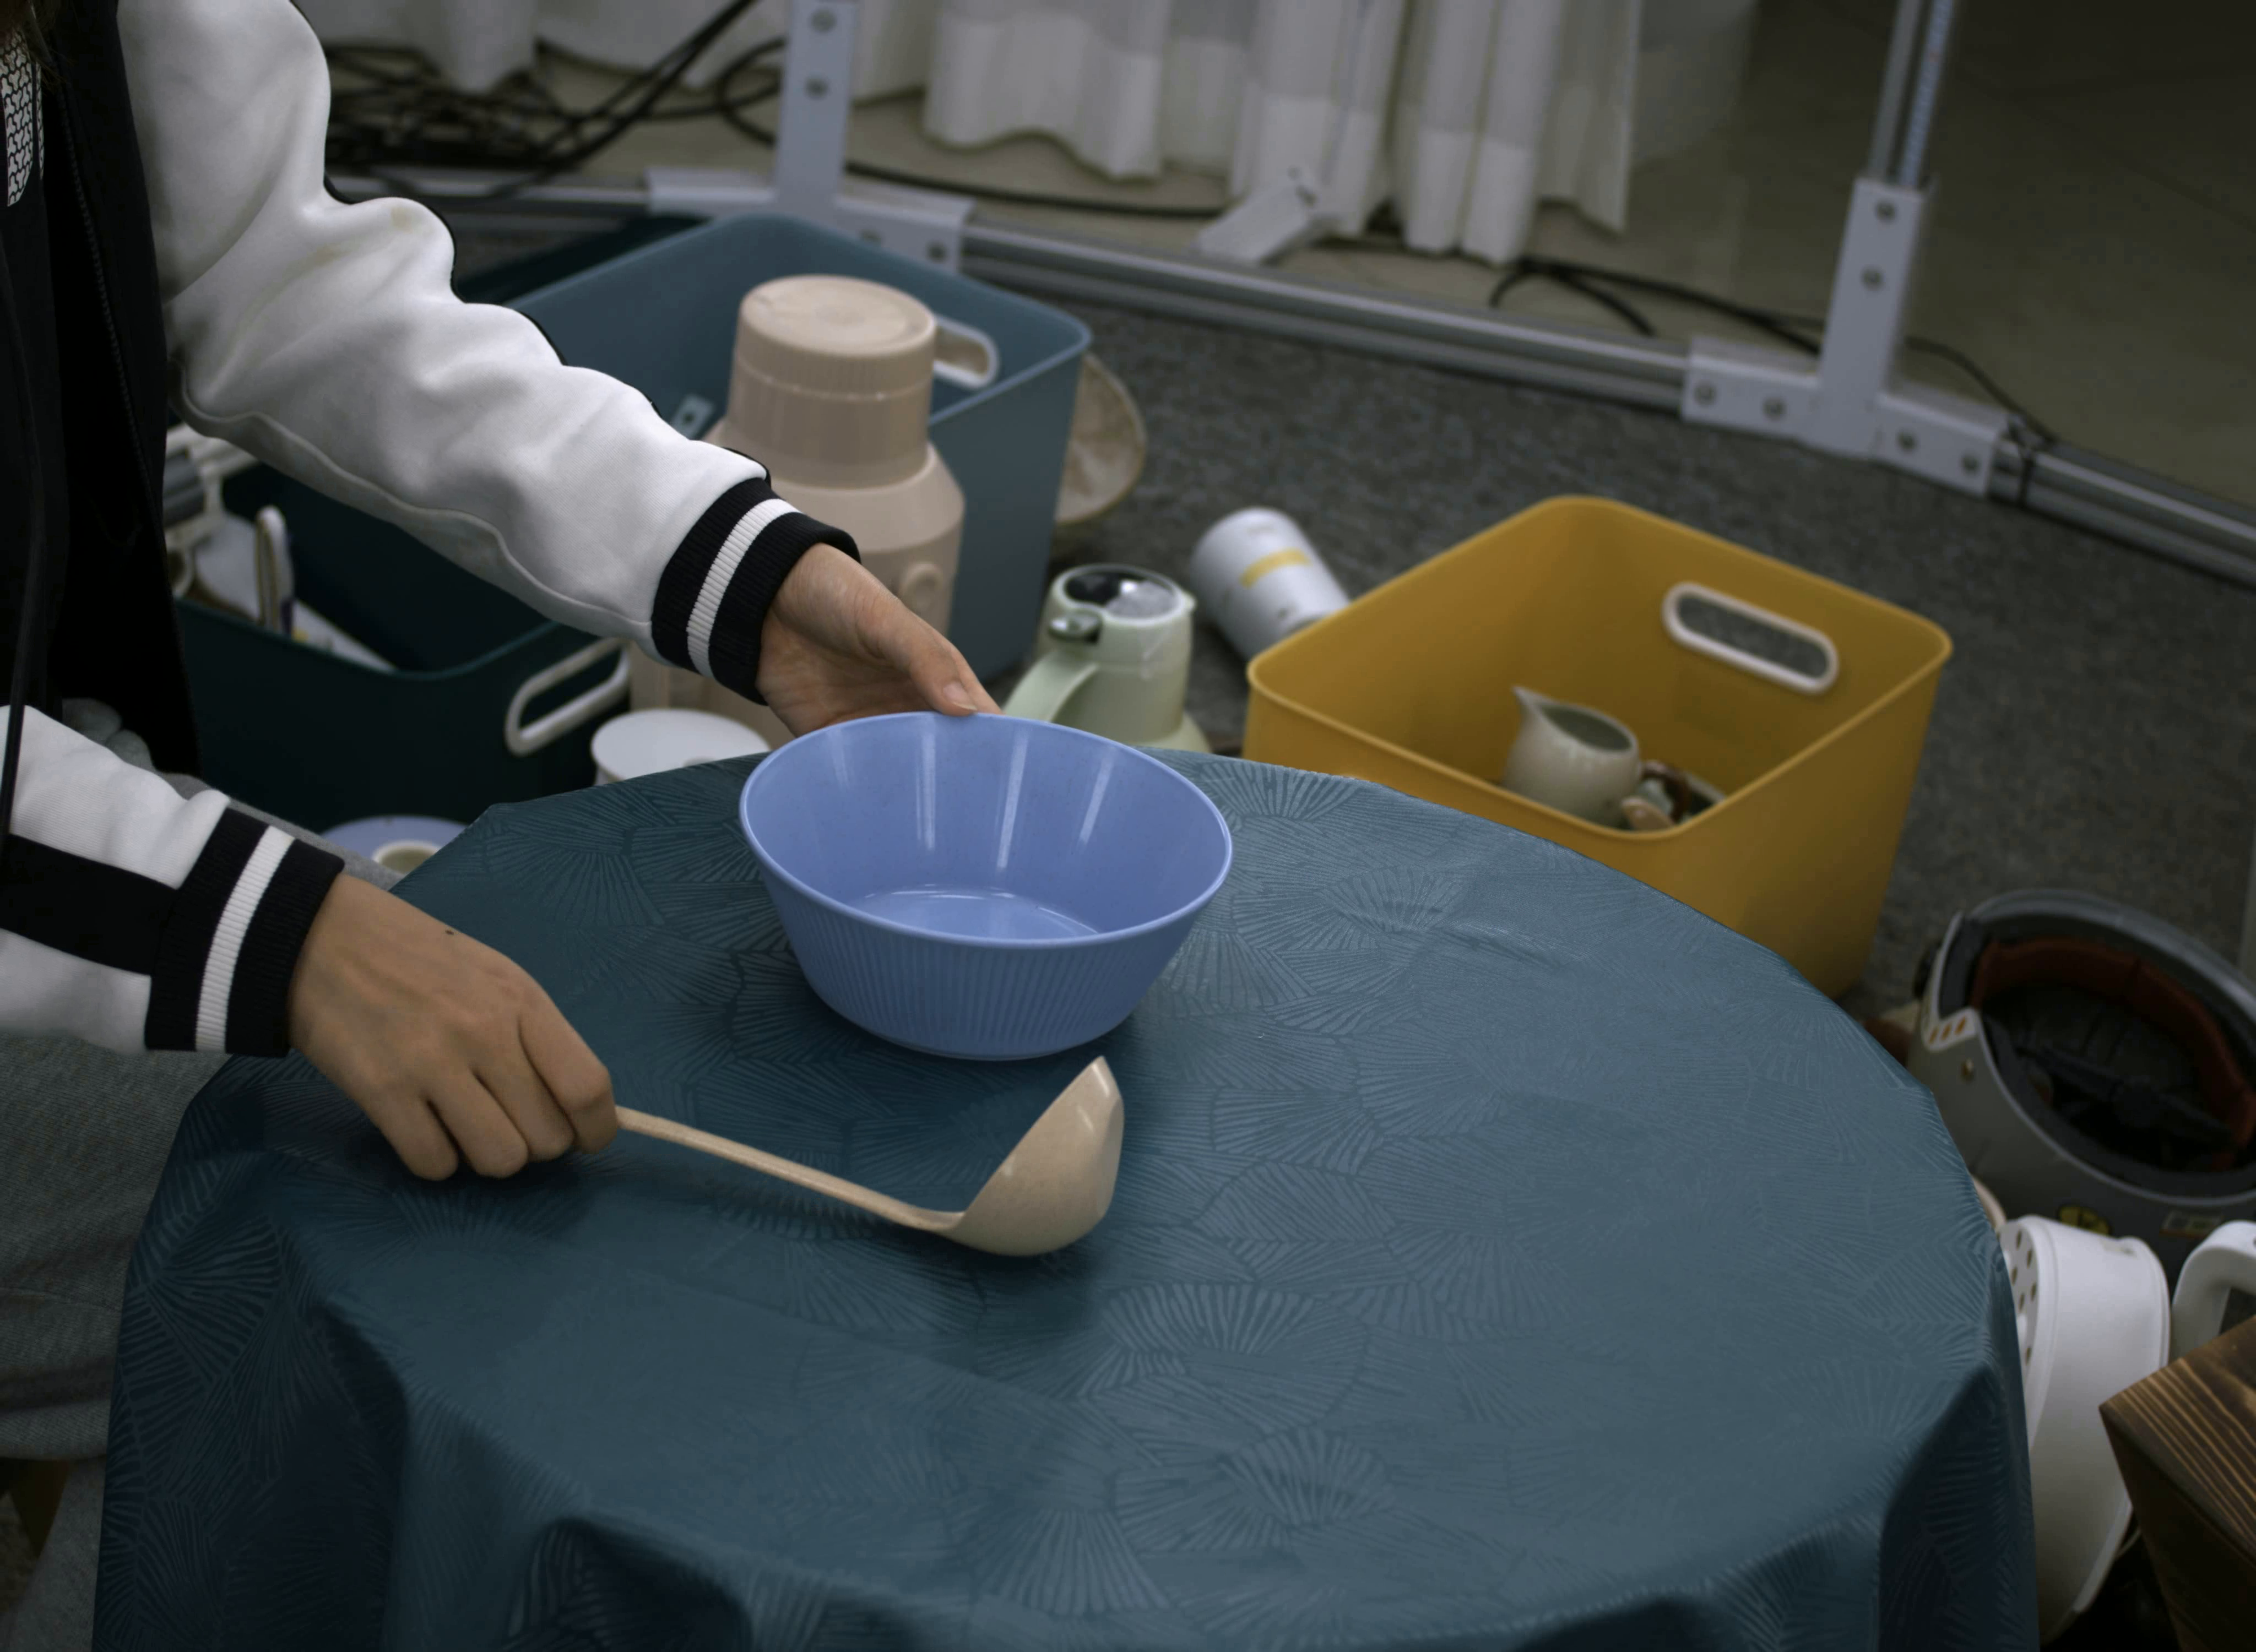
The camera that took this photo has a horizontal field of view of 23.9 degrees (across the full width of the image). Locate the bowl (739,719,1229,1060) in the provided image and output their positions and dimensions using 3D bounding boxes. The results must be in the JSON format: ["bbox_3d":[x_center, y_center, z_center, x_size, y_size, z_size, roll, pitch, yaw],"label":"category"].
[{"bbox_3d":[-0.054,0.028,1.900,0.175,0.070,0.177,6,26,-3],"label":"bowl"}]

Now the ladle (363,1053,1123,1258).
[{"bbox_3d":[-0.127,0.084,1.762,0.254,0.073,0.072,13,8,8],"label":"ladle"}]
